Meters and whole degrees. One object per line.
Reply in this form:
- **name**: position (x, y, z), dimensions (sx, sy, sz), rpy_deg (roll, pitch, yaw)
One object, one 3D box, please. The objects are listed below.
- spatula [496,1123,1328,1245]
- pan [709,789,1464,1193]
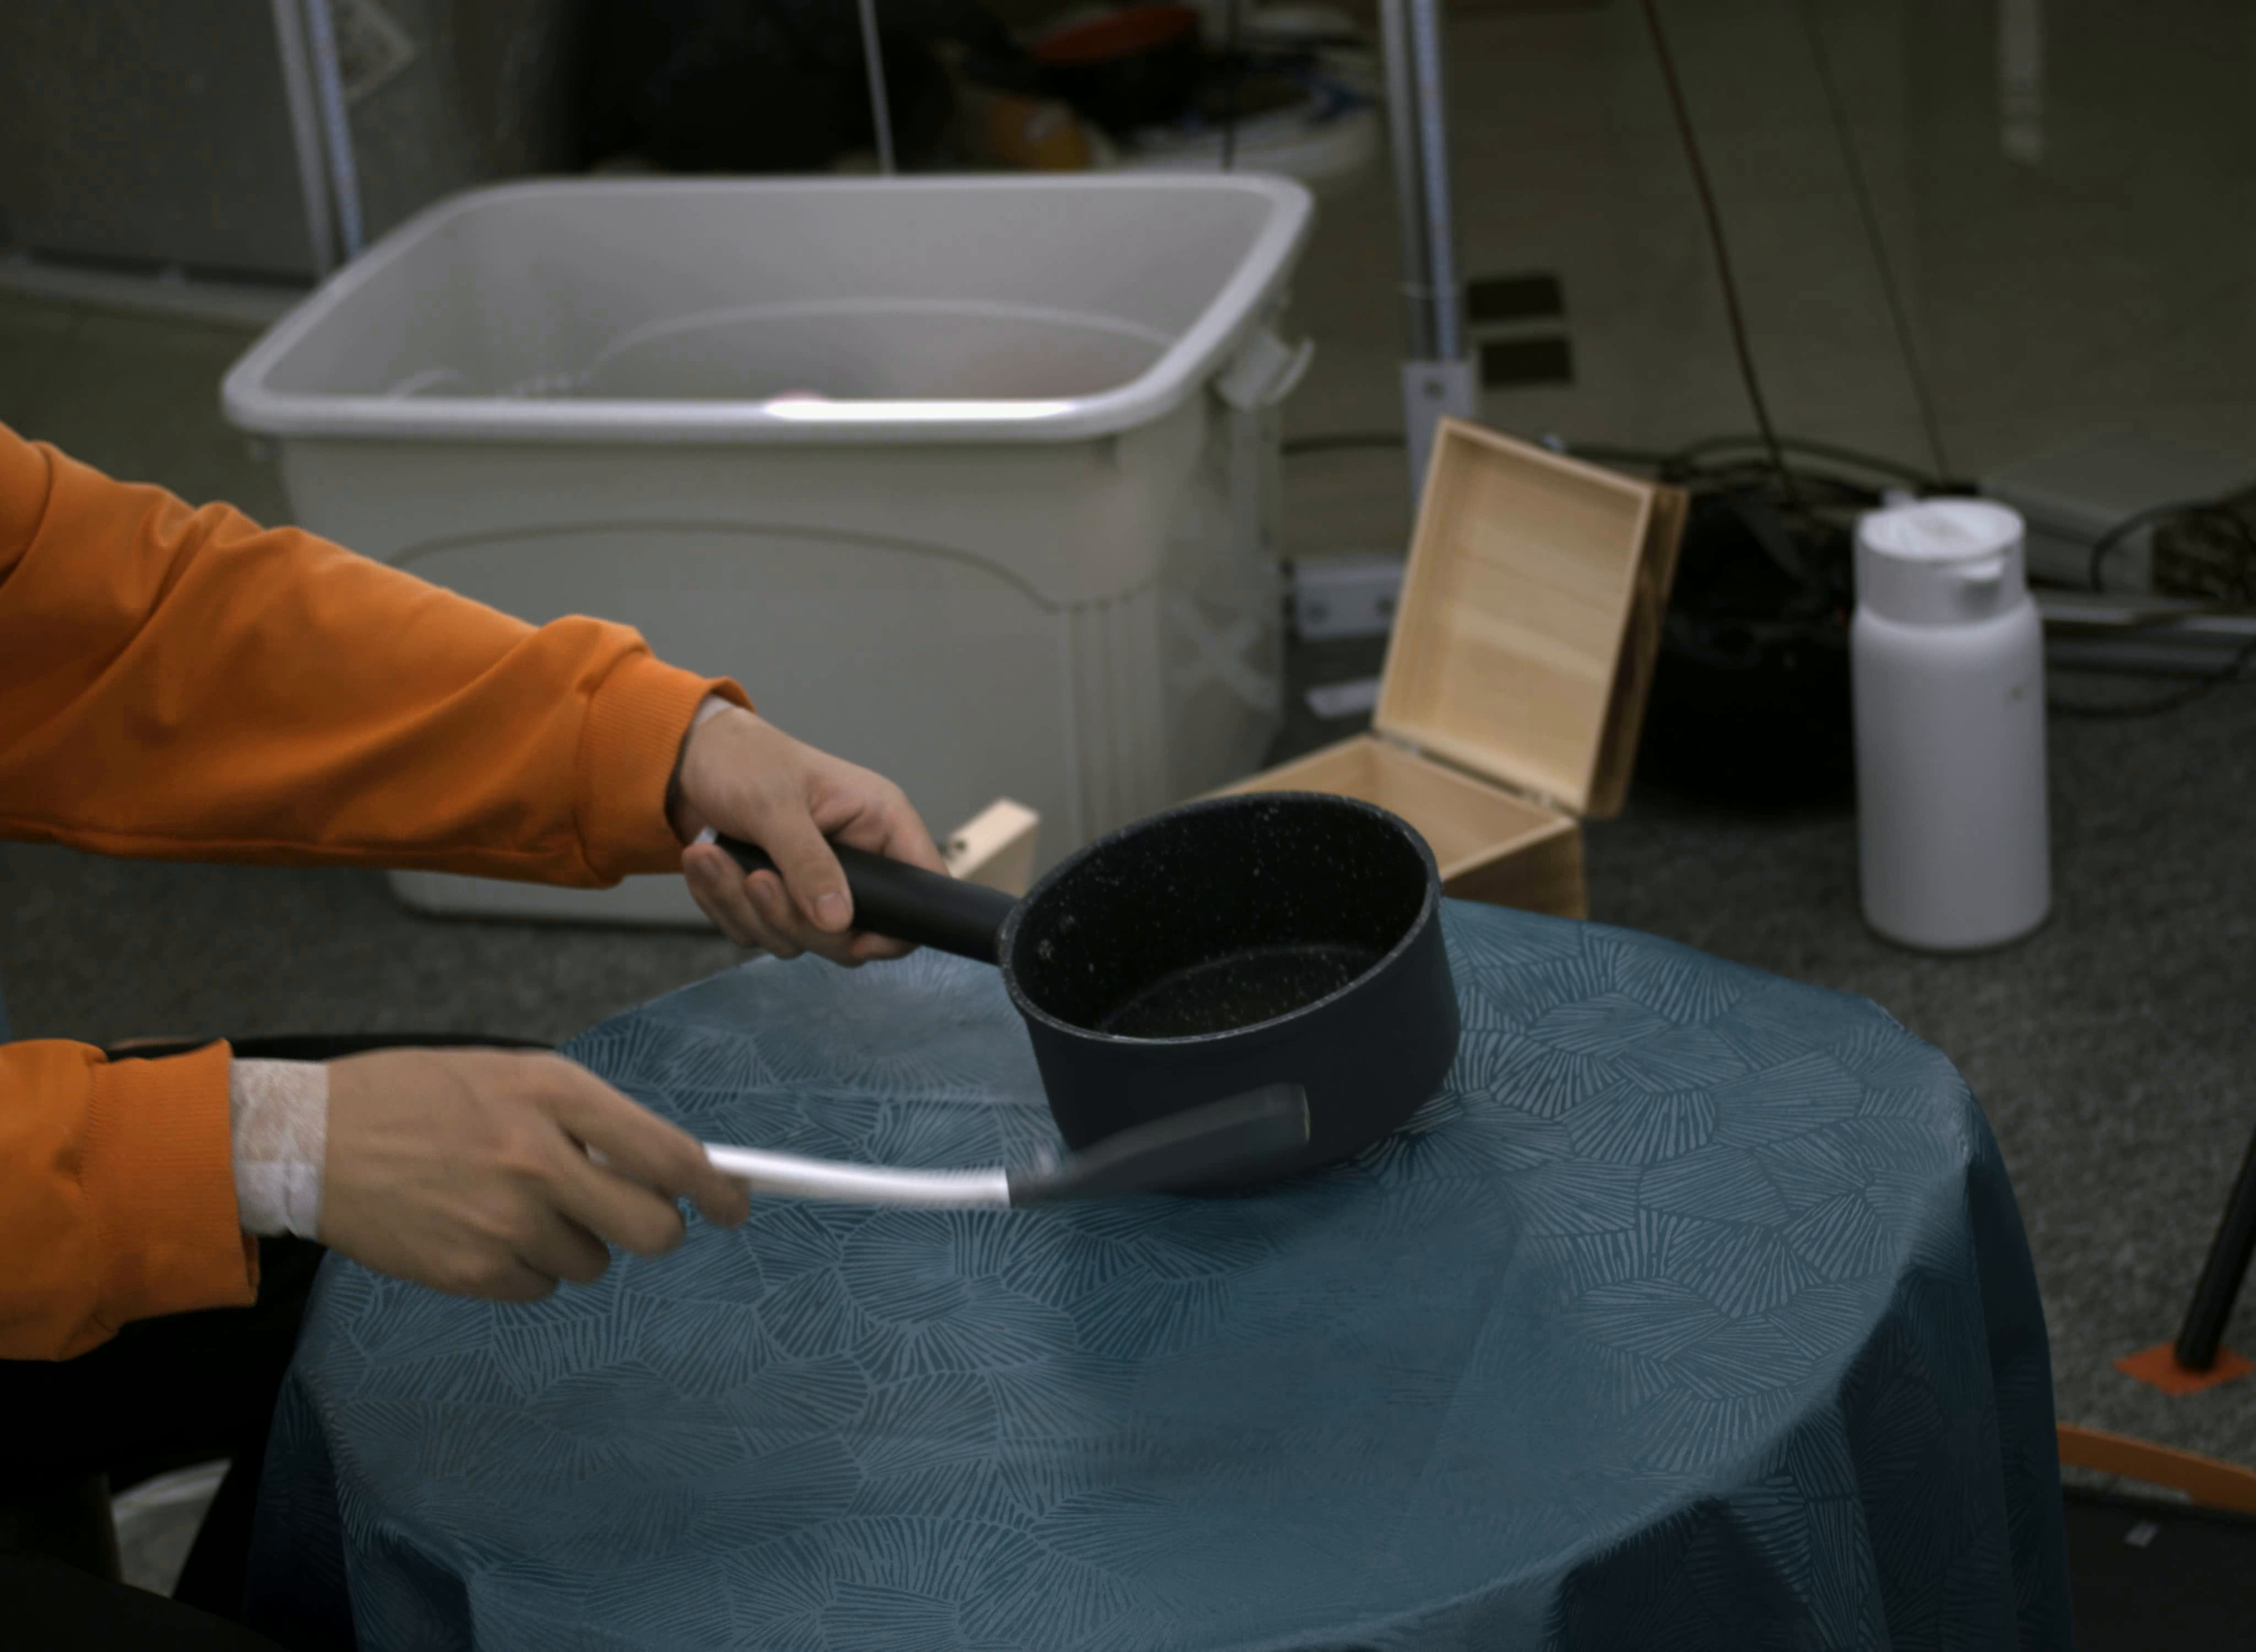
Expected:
- **spatula**: position (-0.074, 0.124, 1.961), dimensions (0.287, 0.059, 0.032), rpy_deg (-2, 67, 1)
- **pan**: position (-0.023, 0.052, 2.216), dimensions (0.327, 0.088, 0.170), rpy_deg (10, 38, 33)
